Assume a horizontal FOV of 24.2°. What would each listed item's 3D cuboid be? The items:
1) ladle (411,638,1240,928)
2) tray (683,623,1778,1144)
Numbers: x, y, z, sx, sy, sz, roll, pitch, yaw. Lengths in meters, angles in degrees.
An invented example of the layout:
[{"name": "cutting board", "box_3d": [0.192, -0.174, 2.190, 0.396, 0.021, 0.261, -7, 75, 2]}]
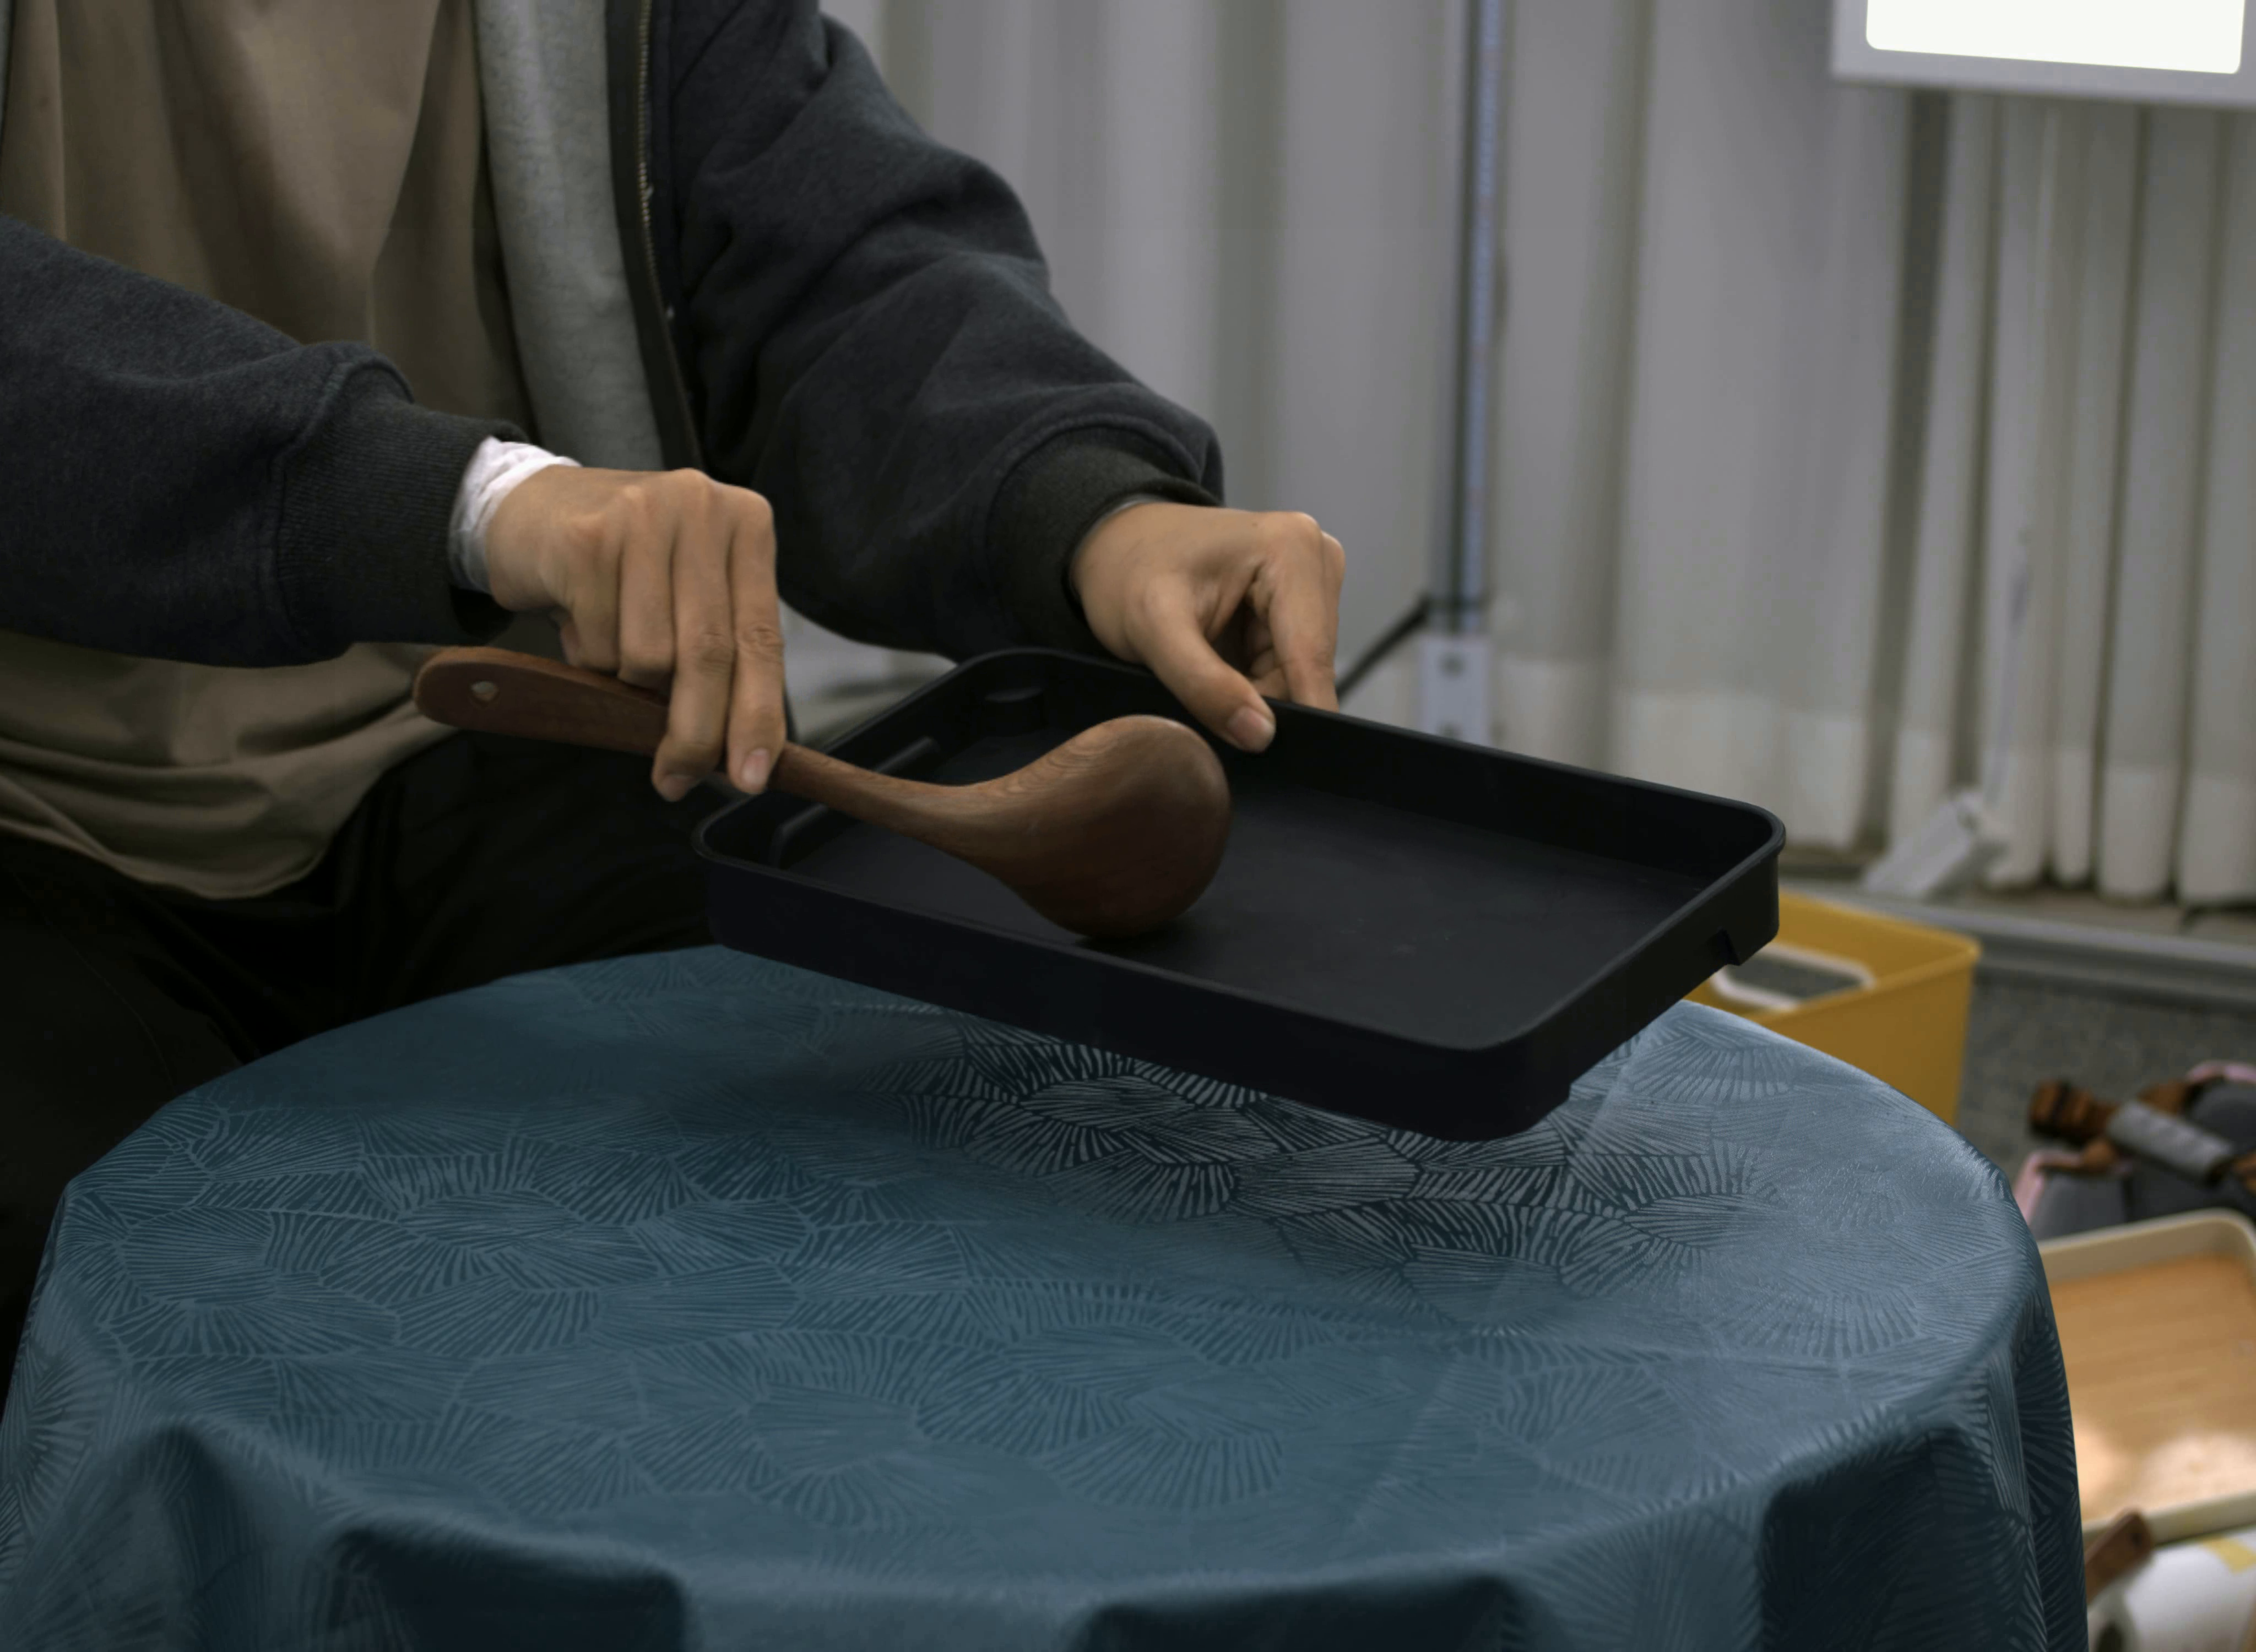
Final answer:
[{"name": "ladle", "box_3d": [-0.093, -0.025, 1.648, 0.259, 0.077, 0.065, 14, 21, 4]}, {"name": "tray", "box_3d": [0.031, 0.013, 1.663, 0.314, 0.037, 0.184, 15, 32, 33]}]
